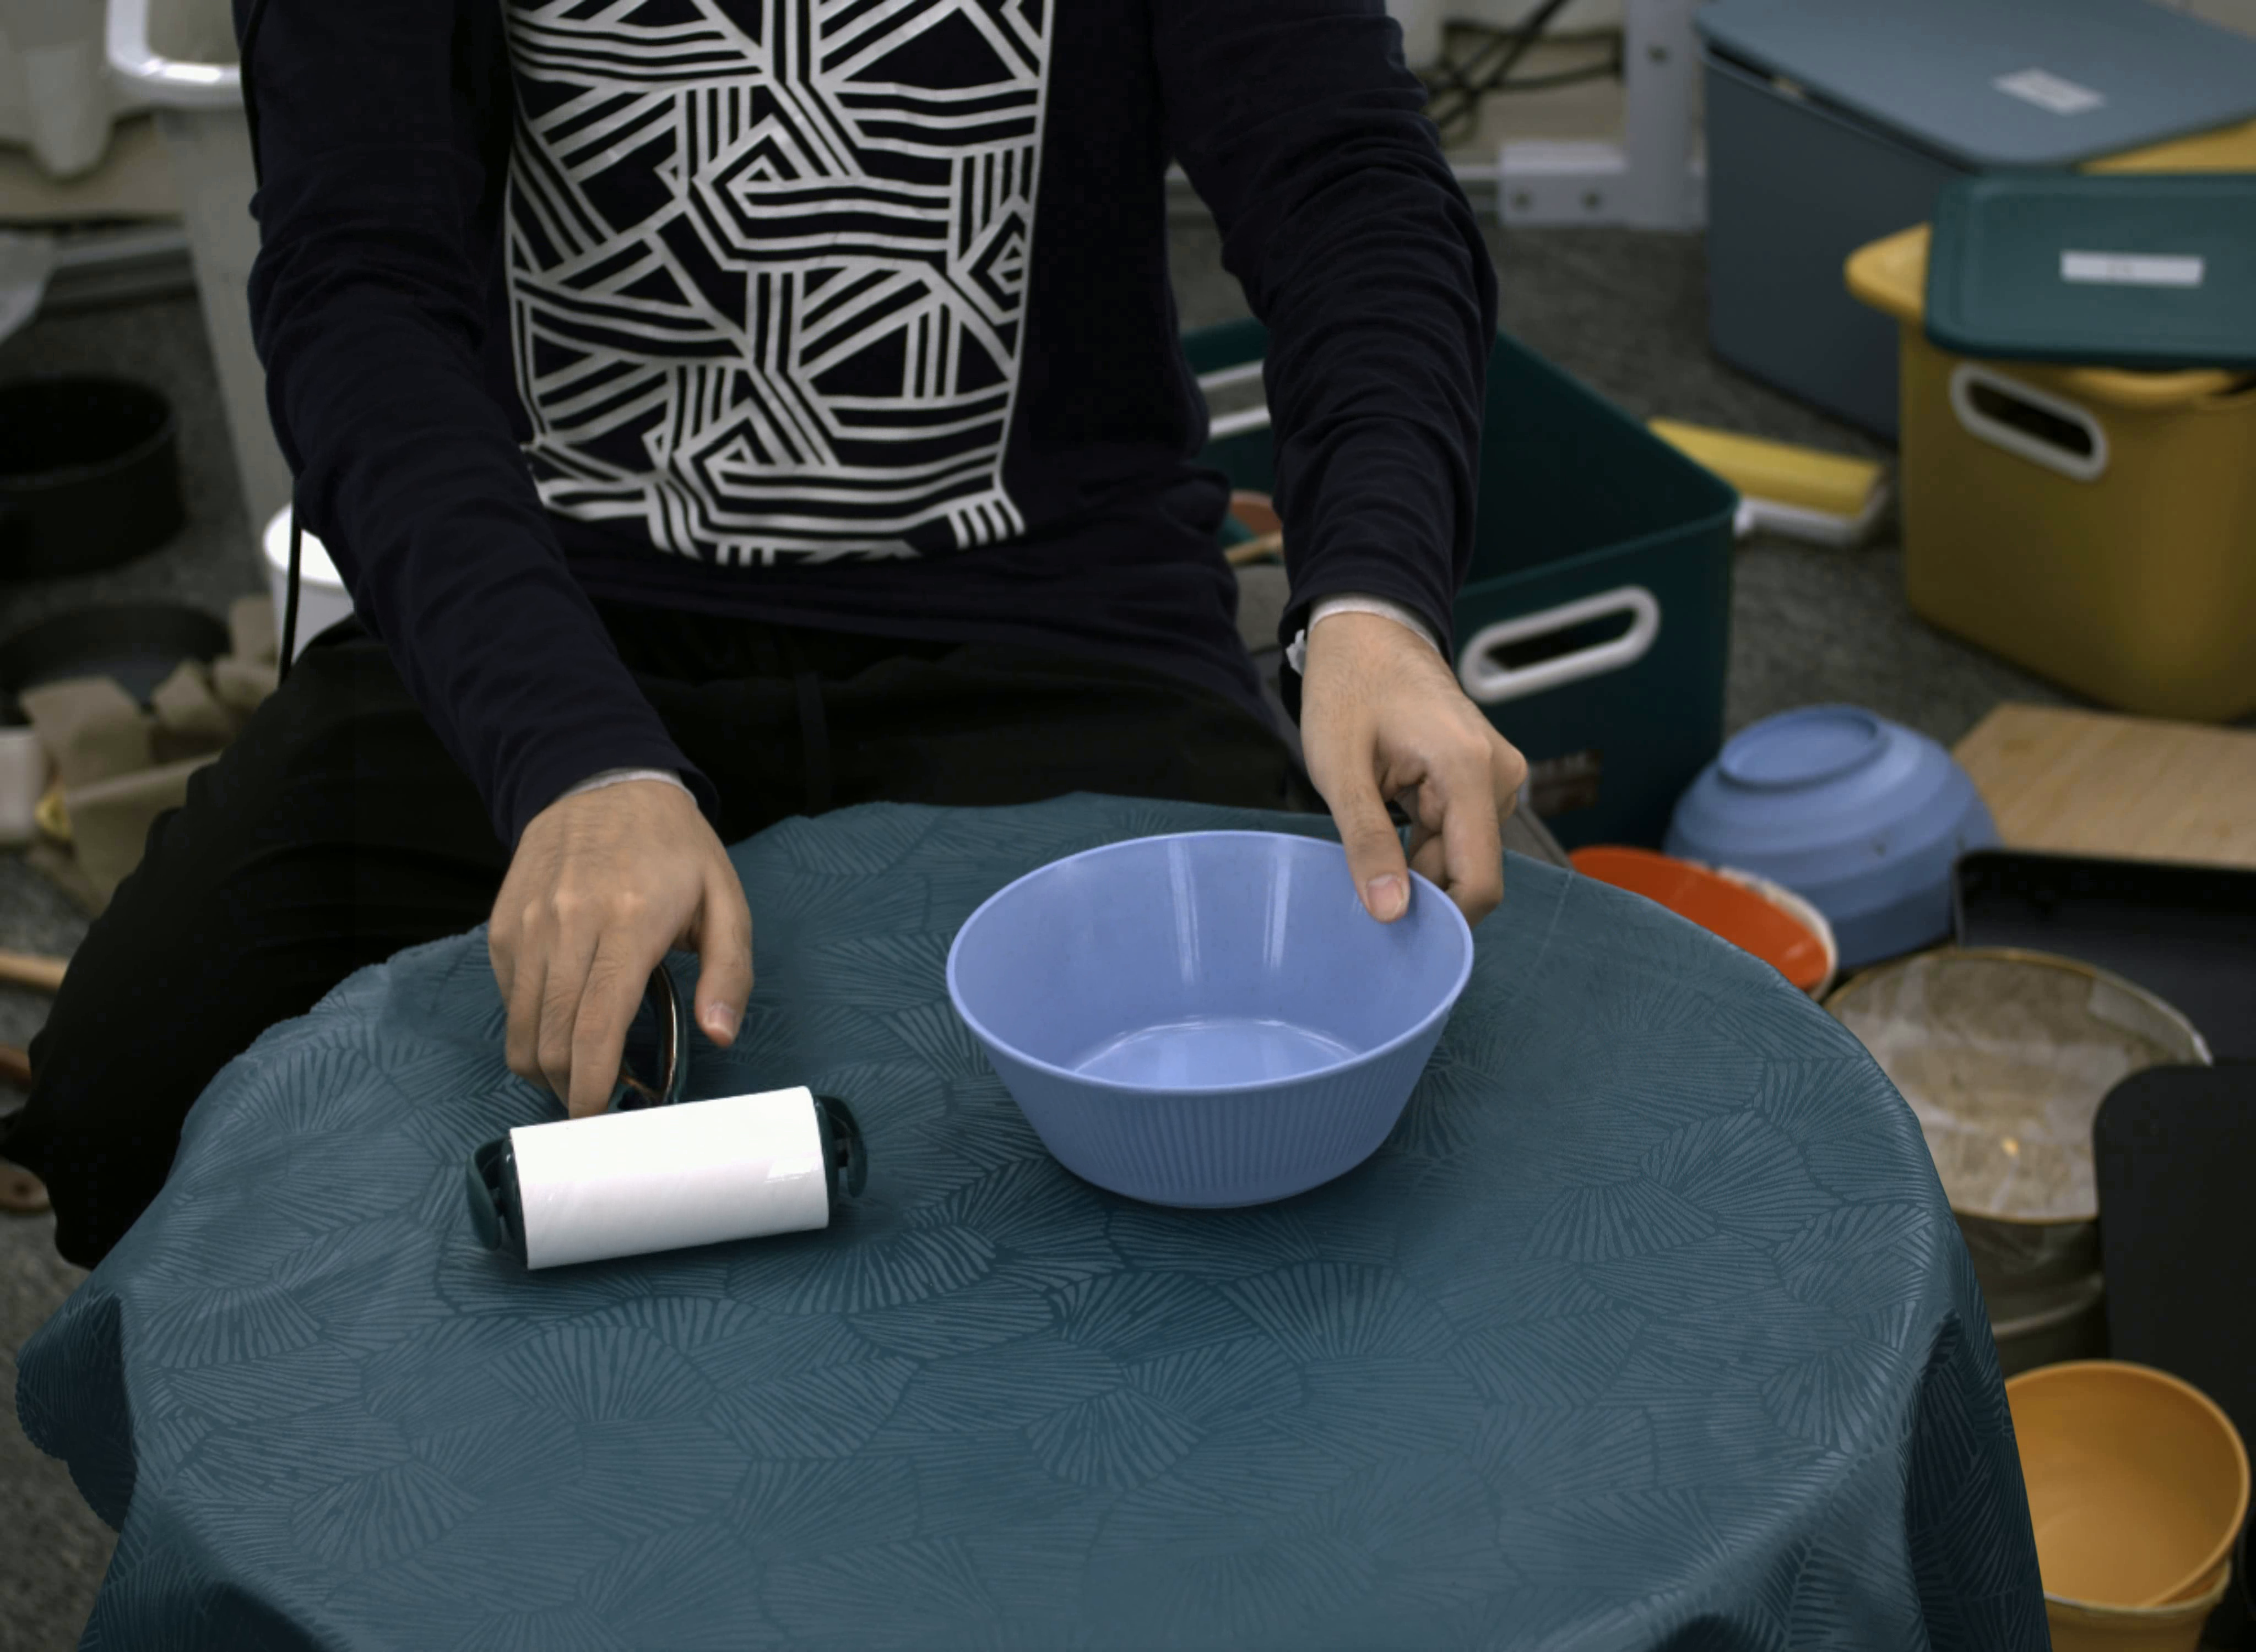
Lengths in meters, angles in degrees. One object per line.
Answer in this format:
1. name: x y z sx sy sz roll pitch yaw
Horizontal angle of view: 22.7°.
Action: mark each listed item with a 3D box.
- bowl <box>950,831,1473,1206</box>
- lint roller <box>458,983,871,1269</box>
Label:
1. bowl: 0.029 0.070 1.880 0.175 0.069 0.179 -2 27 1
2. lint roller: -0.165 0.083 1.893 0.134 0.048 0.182 -8 30 -9
